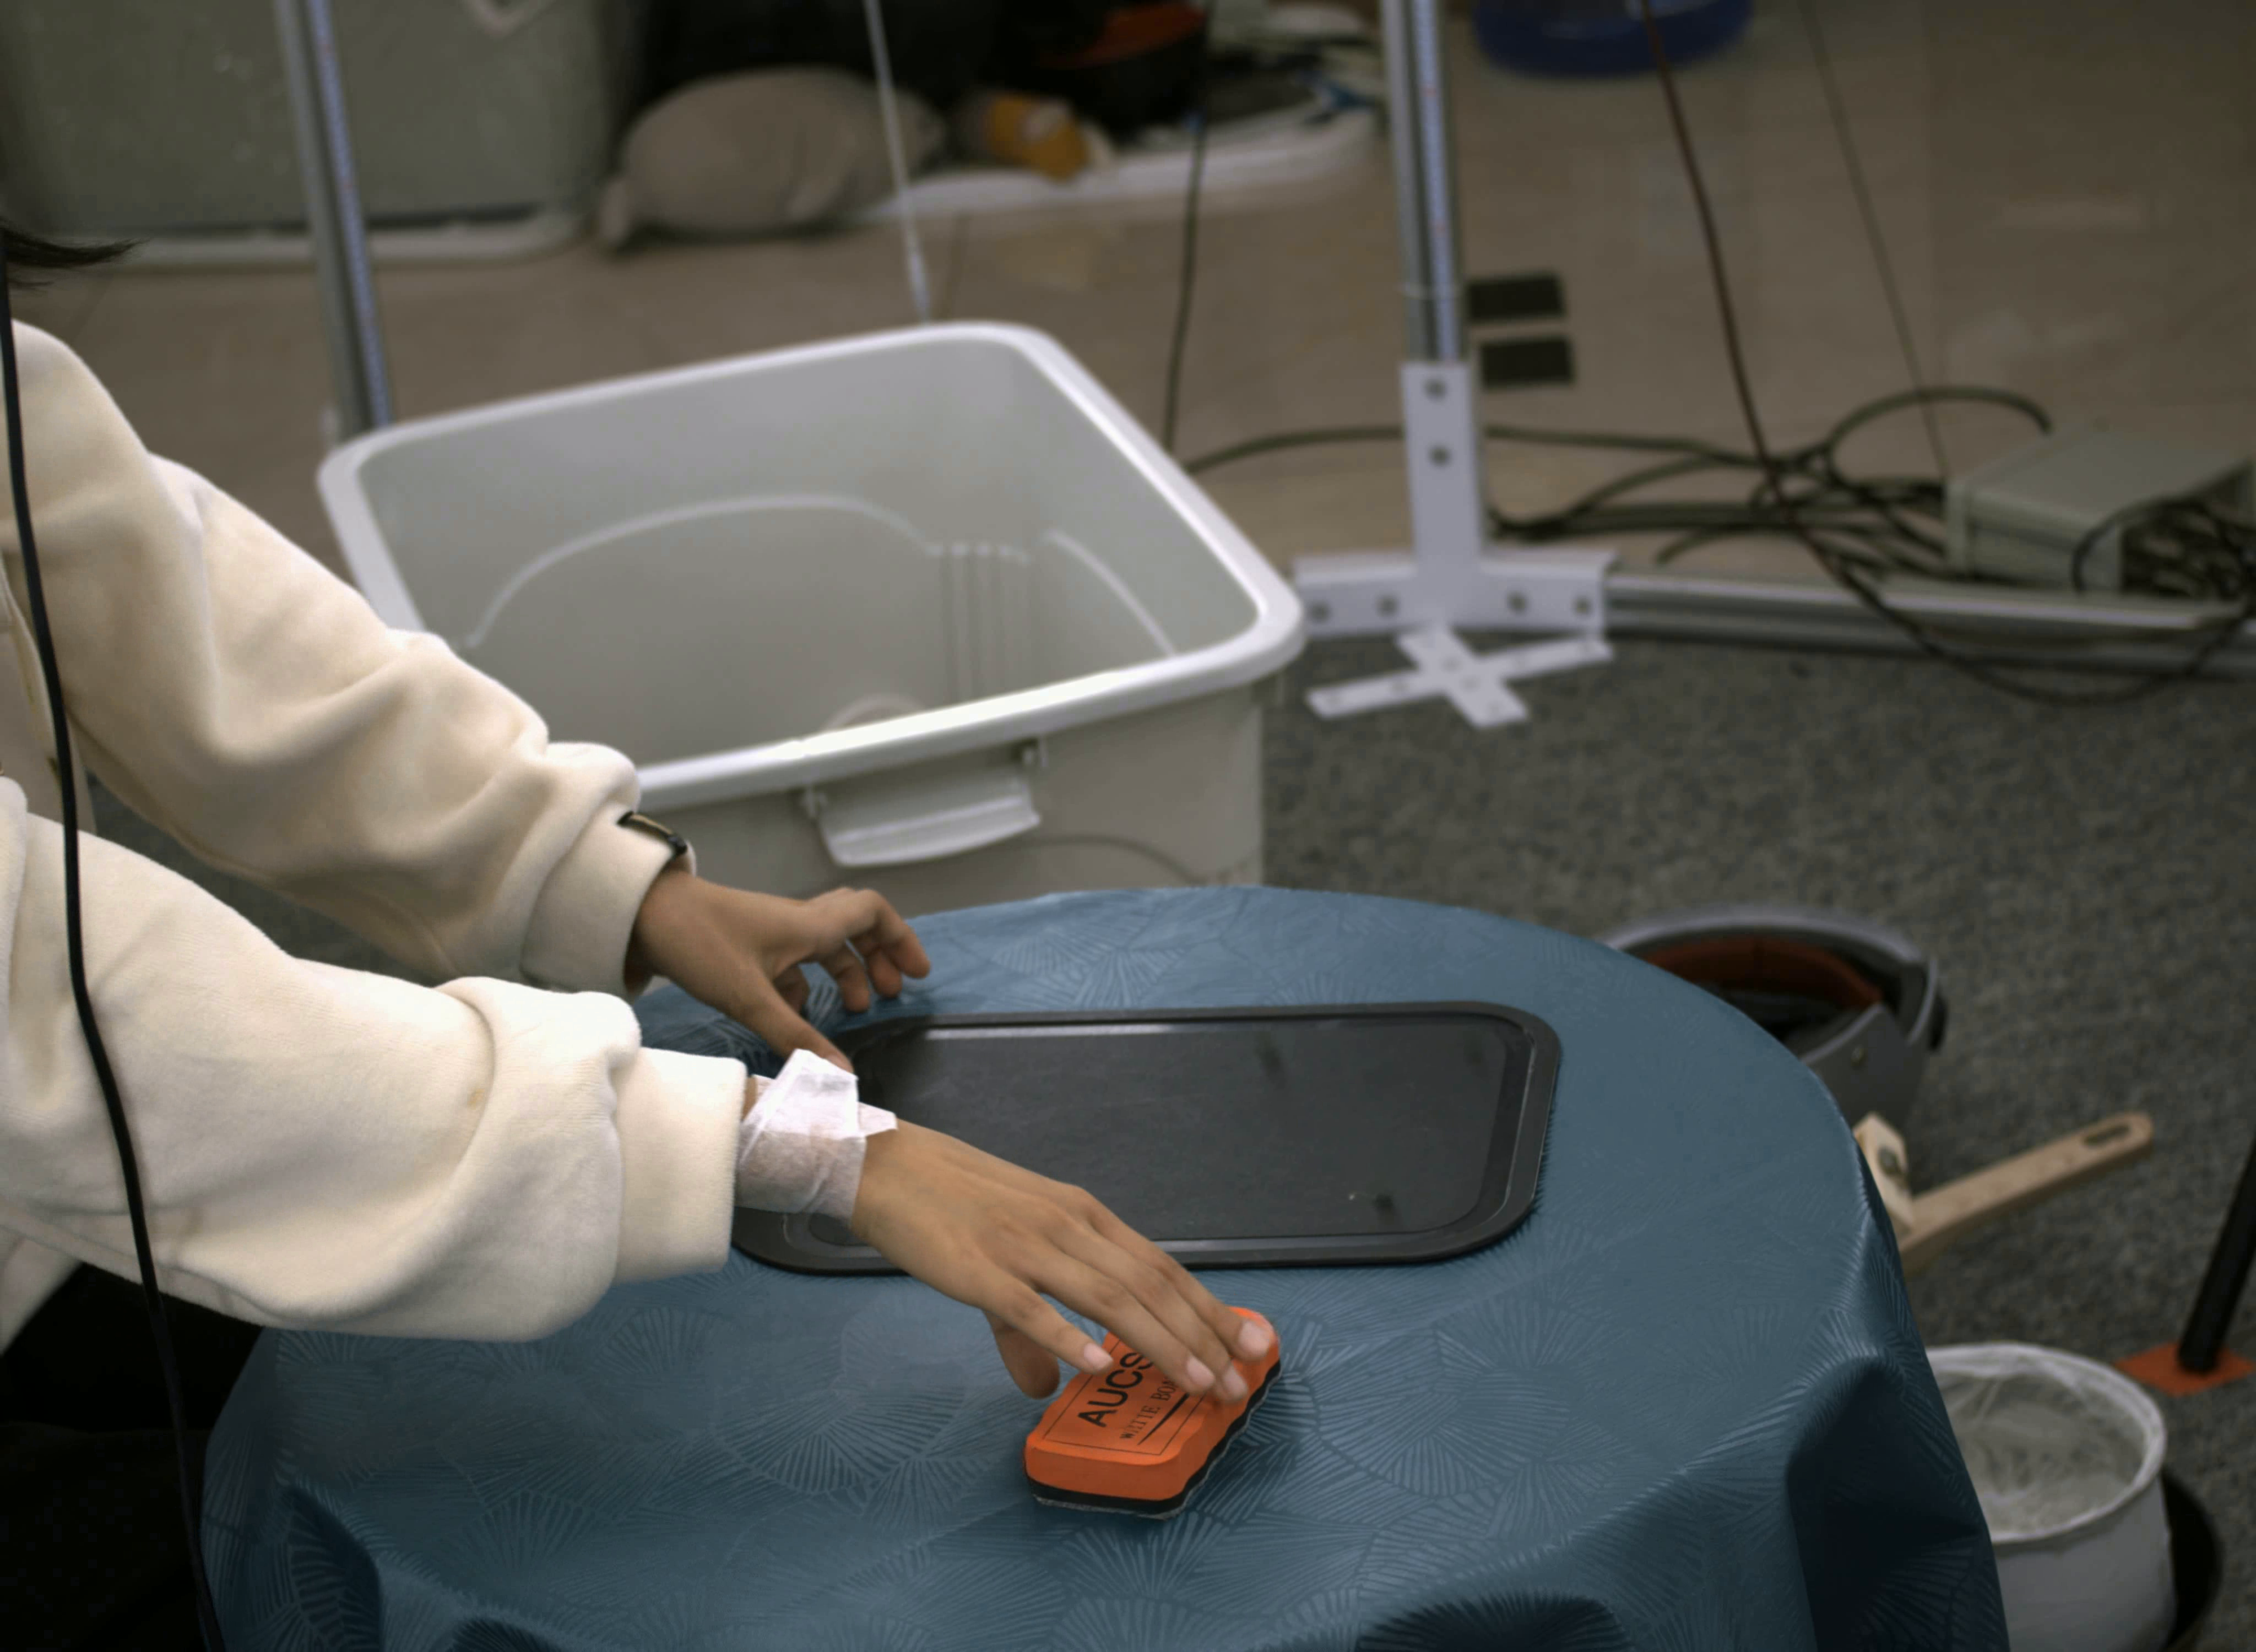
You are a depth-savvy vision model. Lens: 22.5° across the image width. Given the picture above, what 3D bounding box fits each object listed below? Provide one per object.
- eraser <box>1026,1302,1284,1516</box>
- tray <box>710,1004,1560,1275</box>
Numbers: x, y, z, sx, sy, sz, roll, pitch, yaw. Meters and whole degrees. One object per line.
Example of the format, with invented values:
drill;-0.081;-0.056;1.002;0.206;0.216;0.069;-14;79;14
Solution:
eraser;0.010;0.202;1.981;0.059;0.023;0.106;6;27;24
tray;0.000;0.118;2.186;0.325;0.010;0.208;-2;25;11
